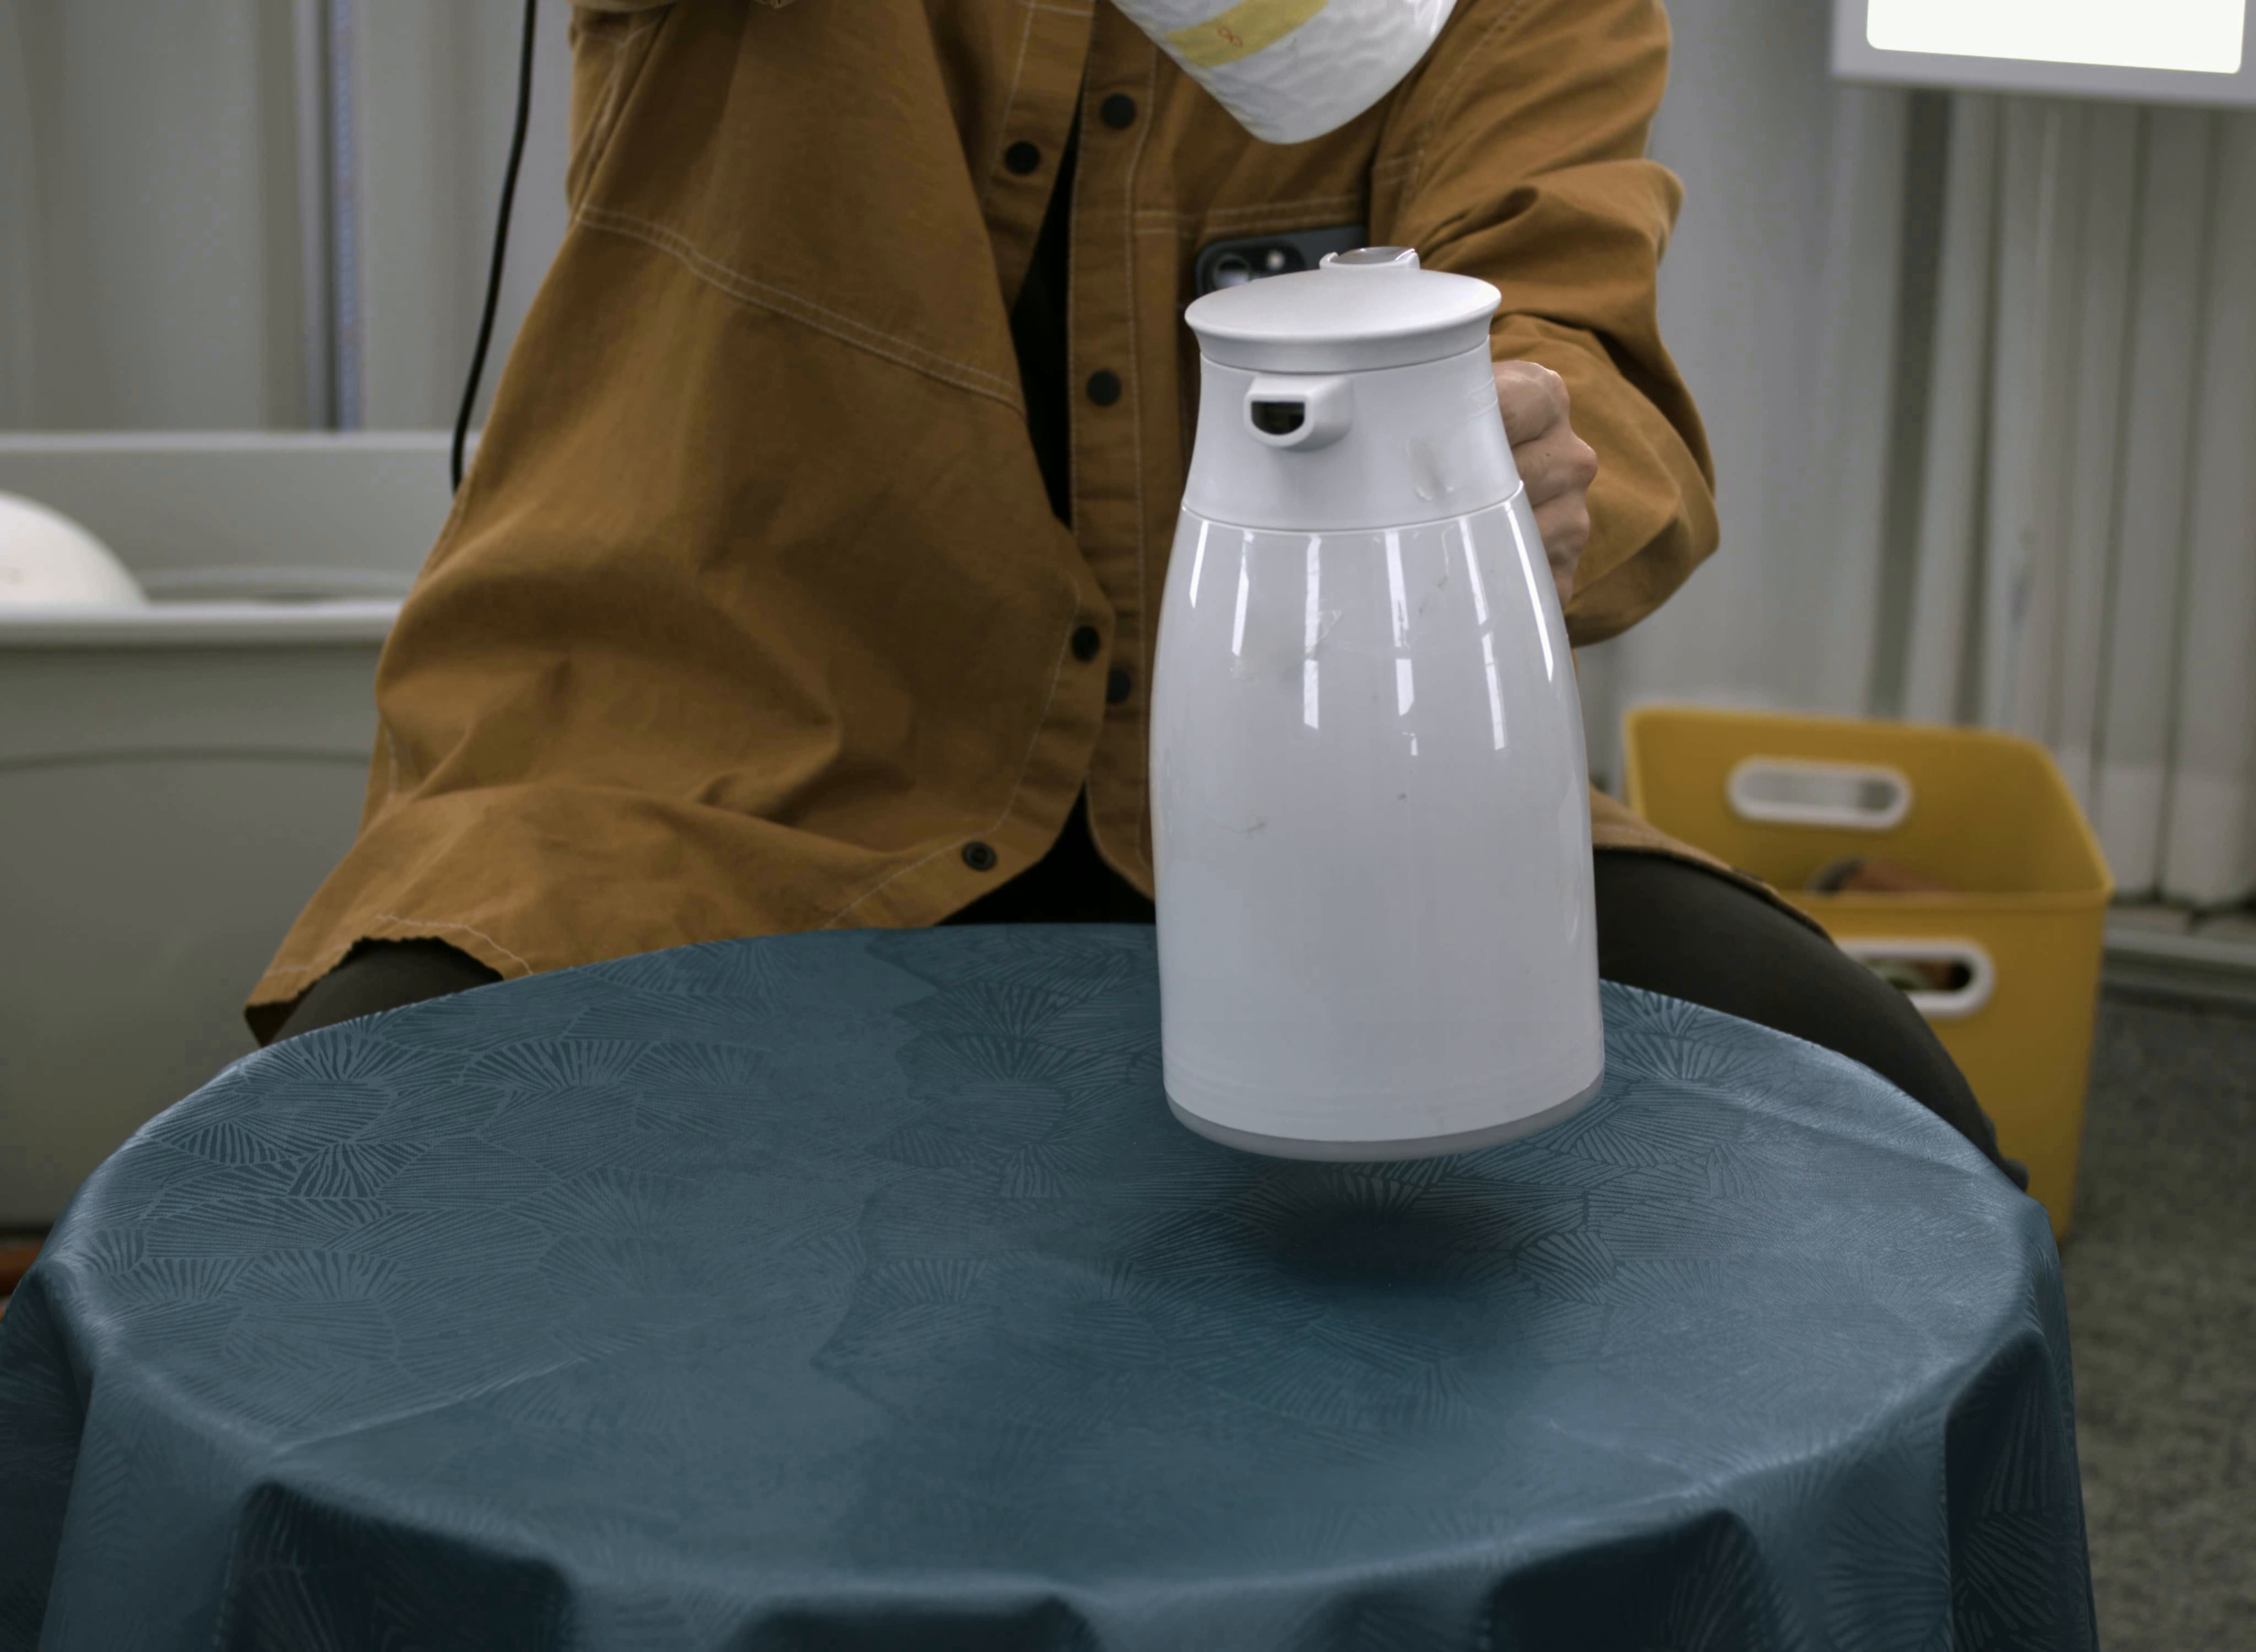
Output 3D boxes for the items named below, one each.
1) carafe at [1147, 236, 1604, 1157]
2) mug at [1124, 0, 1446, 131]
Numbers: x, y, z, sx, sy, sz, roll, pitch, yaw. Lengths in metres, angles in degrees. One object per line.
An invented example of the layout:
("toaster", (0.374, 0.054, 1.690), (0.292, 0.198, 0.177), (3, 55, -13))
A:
("carafe", (0.073, -0.047, 1.560), (0.131, 0.251, 0.167), (1, 17, 18))
("mug", (0.027, -0.266, 1.465), (0.103, 0.085, 0.117), (39, 19, -33))
